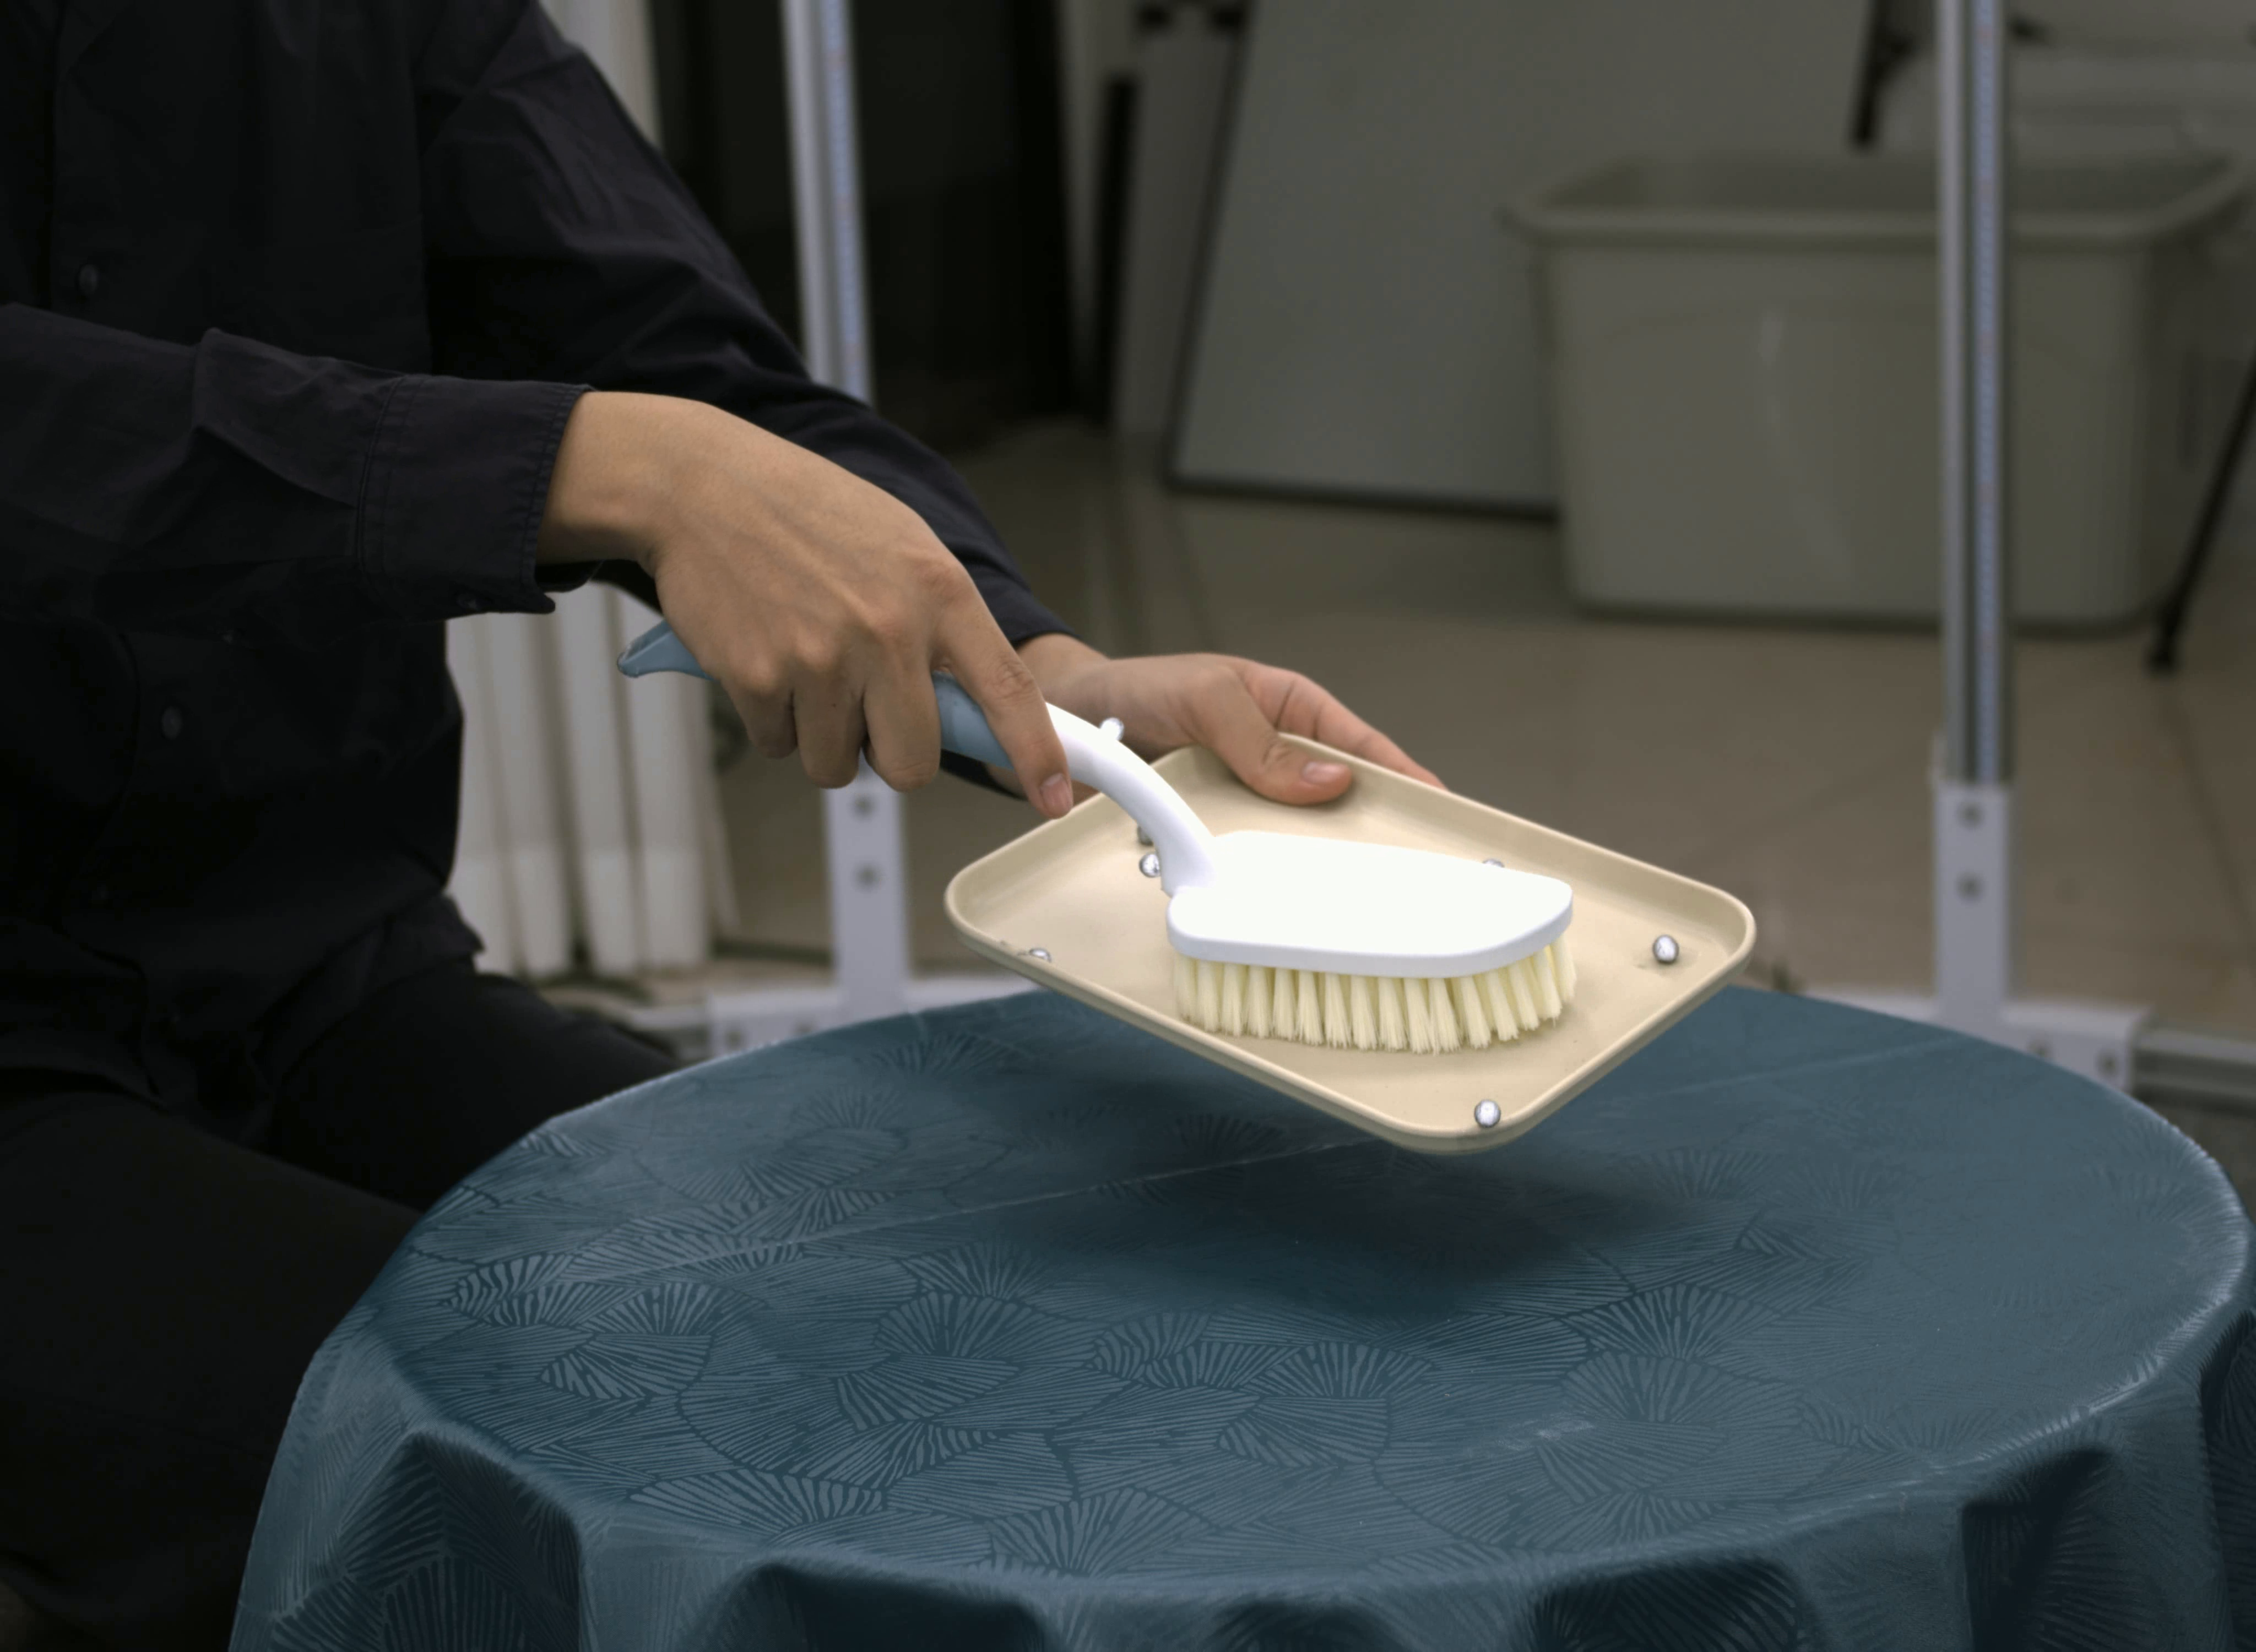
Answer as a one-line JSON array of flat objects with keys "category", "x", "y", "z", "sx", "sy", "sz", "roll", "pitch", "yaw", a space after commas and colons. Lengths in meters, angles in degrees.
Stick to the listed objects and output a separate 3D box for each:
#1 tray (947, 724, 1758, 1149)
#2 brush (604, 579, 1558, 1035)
[{"category": "tray", "x": 0.071, "y": 0.034, "z": 1.742, "sx": 0.242, "sy": 0.017, "sz": 0.168, "roll": 22, "pitch": 38, "yaw": 38}, {"category": "brush", "x": -0.018, "y": 0.005, "z": 1.729, "sx": 0.324, "sy": 0.085, "sz": 0.082, "roll": 17, "pitch": -5, "yaw": 10}]
